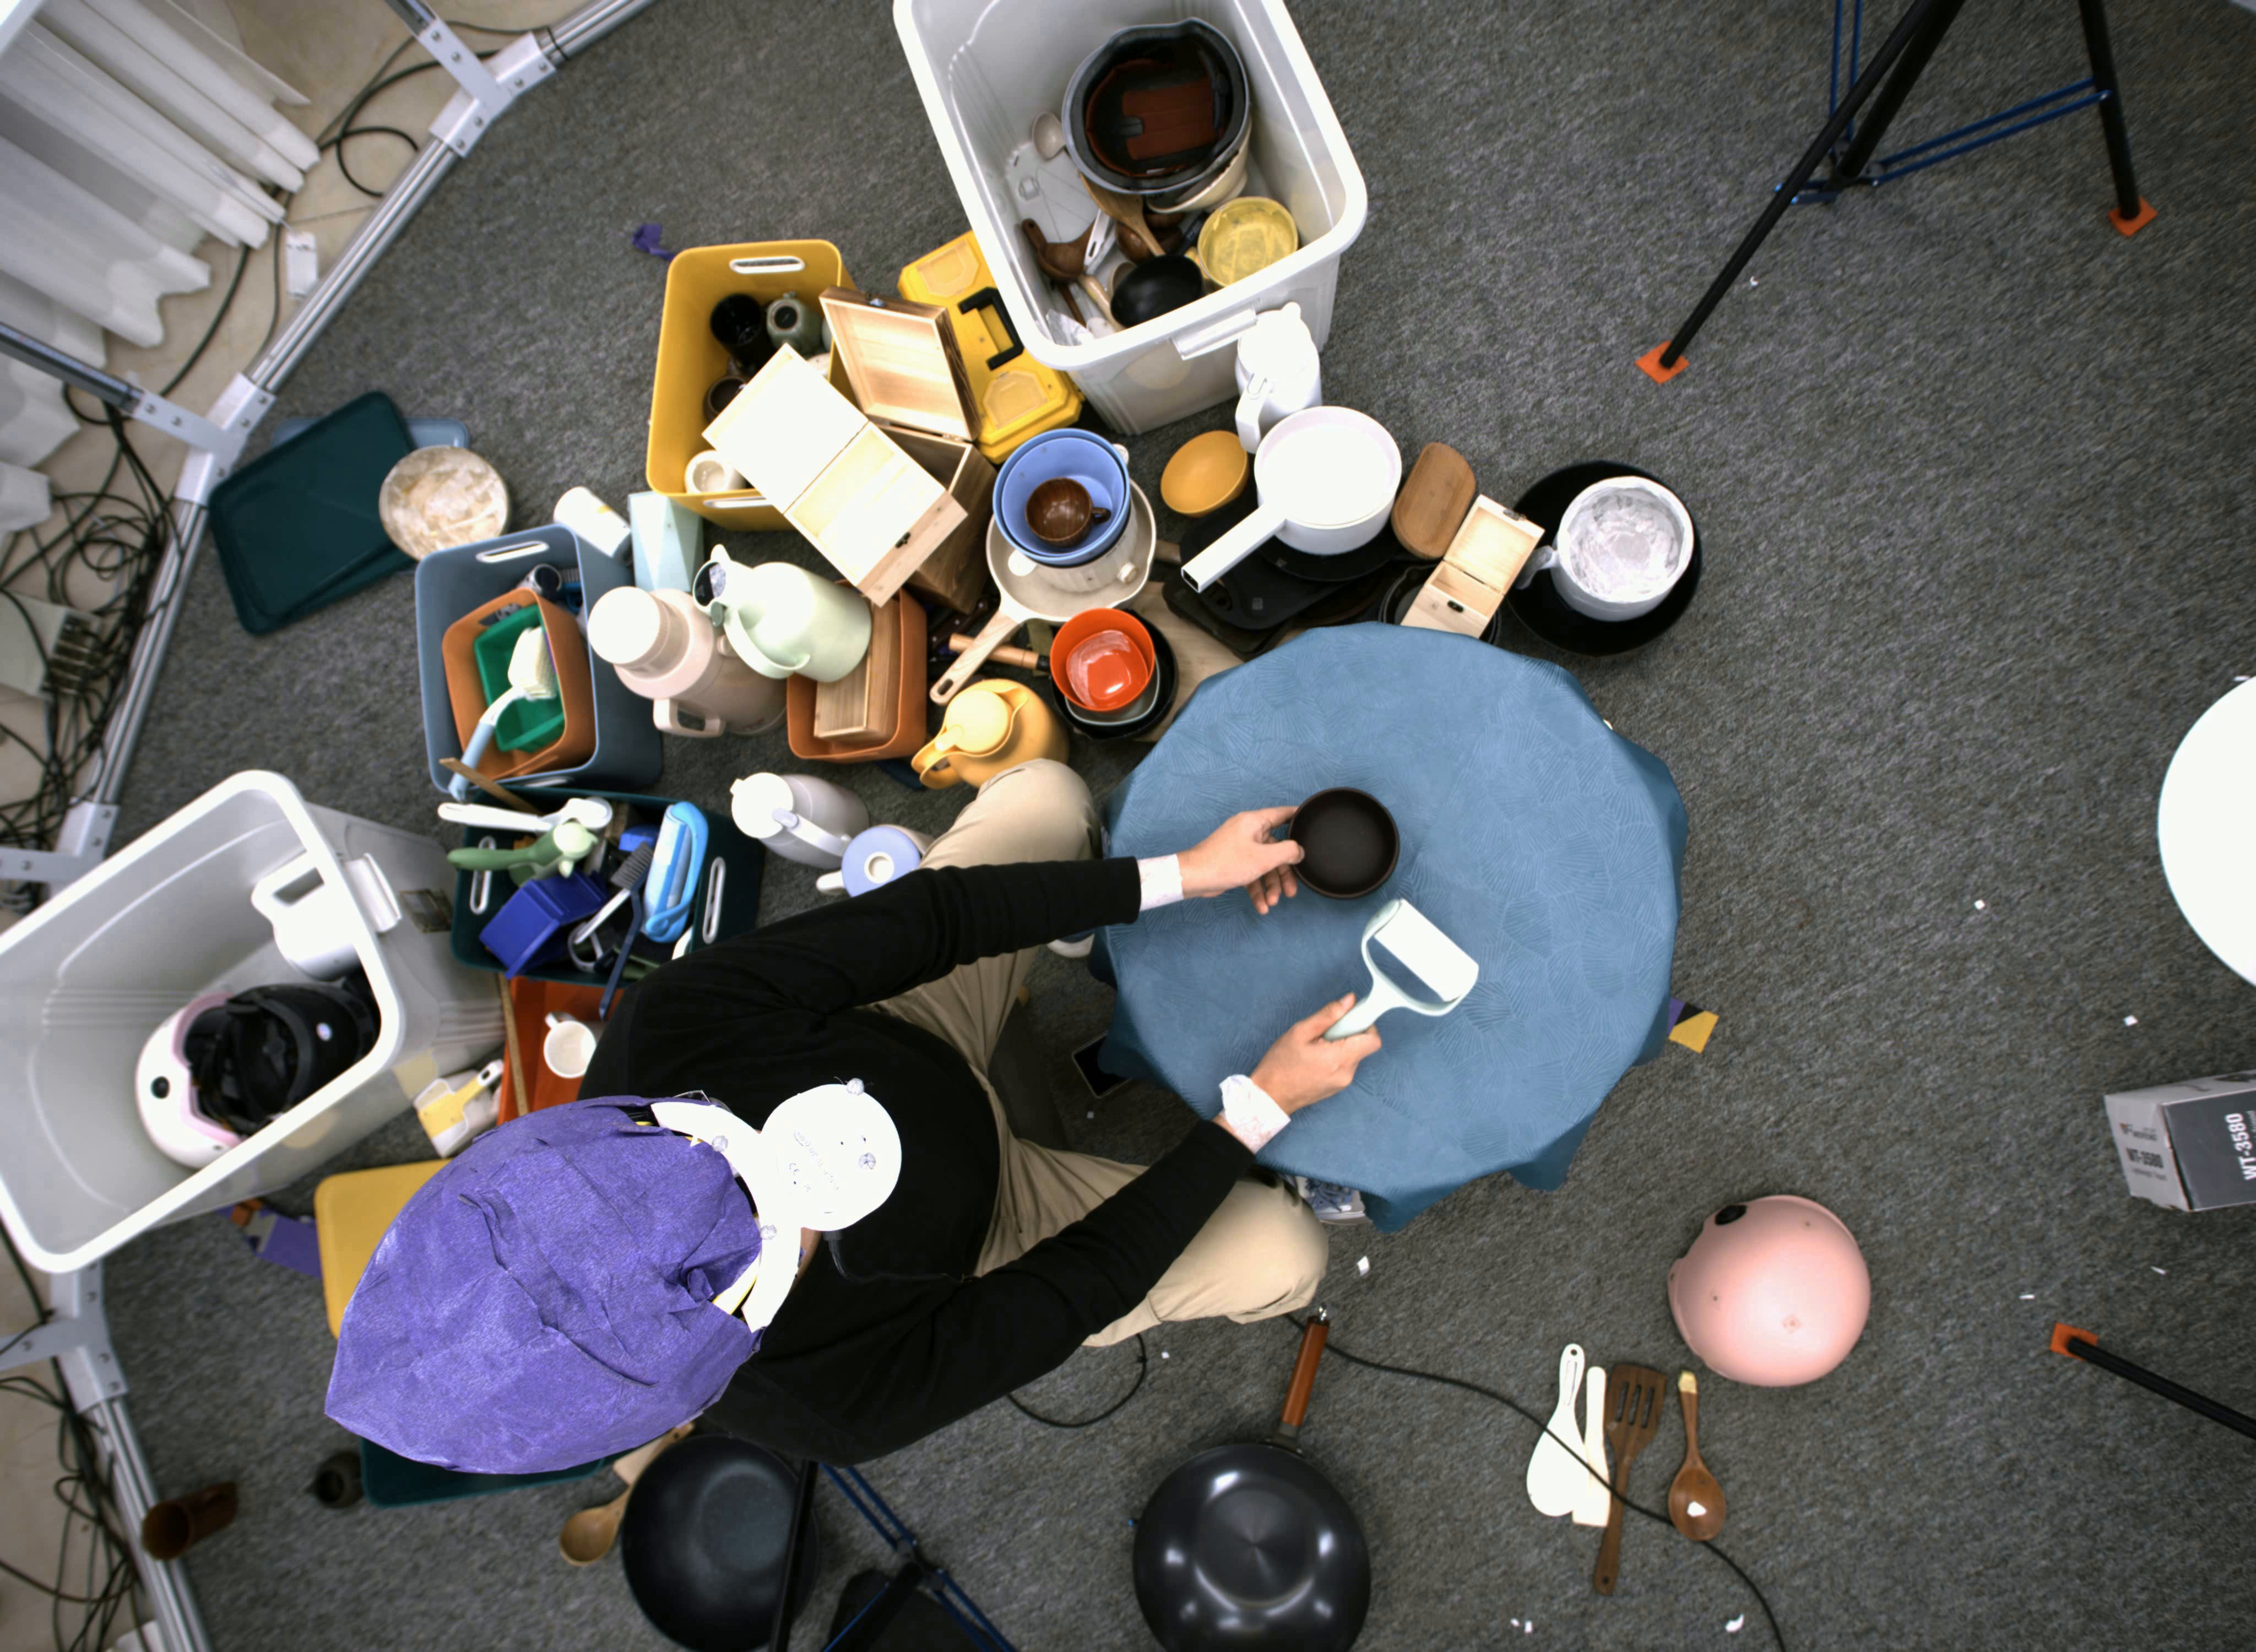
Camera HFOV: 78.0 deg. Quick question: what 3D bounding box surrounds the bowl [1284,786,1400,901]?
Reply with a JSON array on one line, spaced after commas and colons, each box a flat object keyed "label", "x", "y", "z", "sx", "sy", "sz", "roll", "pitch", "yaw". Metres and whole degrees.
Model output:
[{"label": "bowl", "x": 0.223, "y": 0.019, "z": 1.435, "sx": 0.118, "sy": 0.070, "sz": 0.117, "roll": -1, "pitch": 87, "yaw": 10}]

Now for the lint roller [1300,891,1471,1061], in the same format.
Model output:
[{"label": "lint roller", "x": 0.238, "y": 0.165, "z": 1.383, "sx": 0.117, "sy": 0.048, "sz": 0.200, "roll": 40, "pitch": 107, "yaw": -5}]
